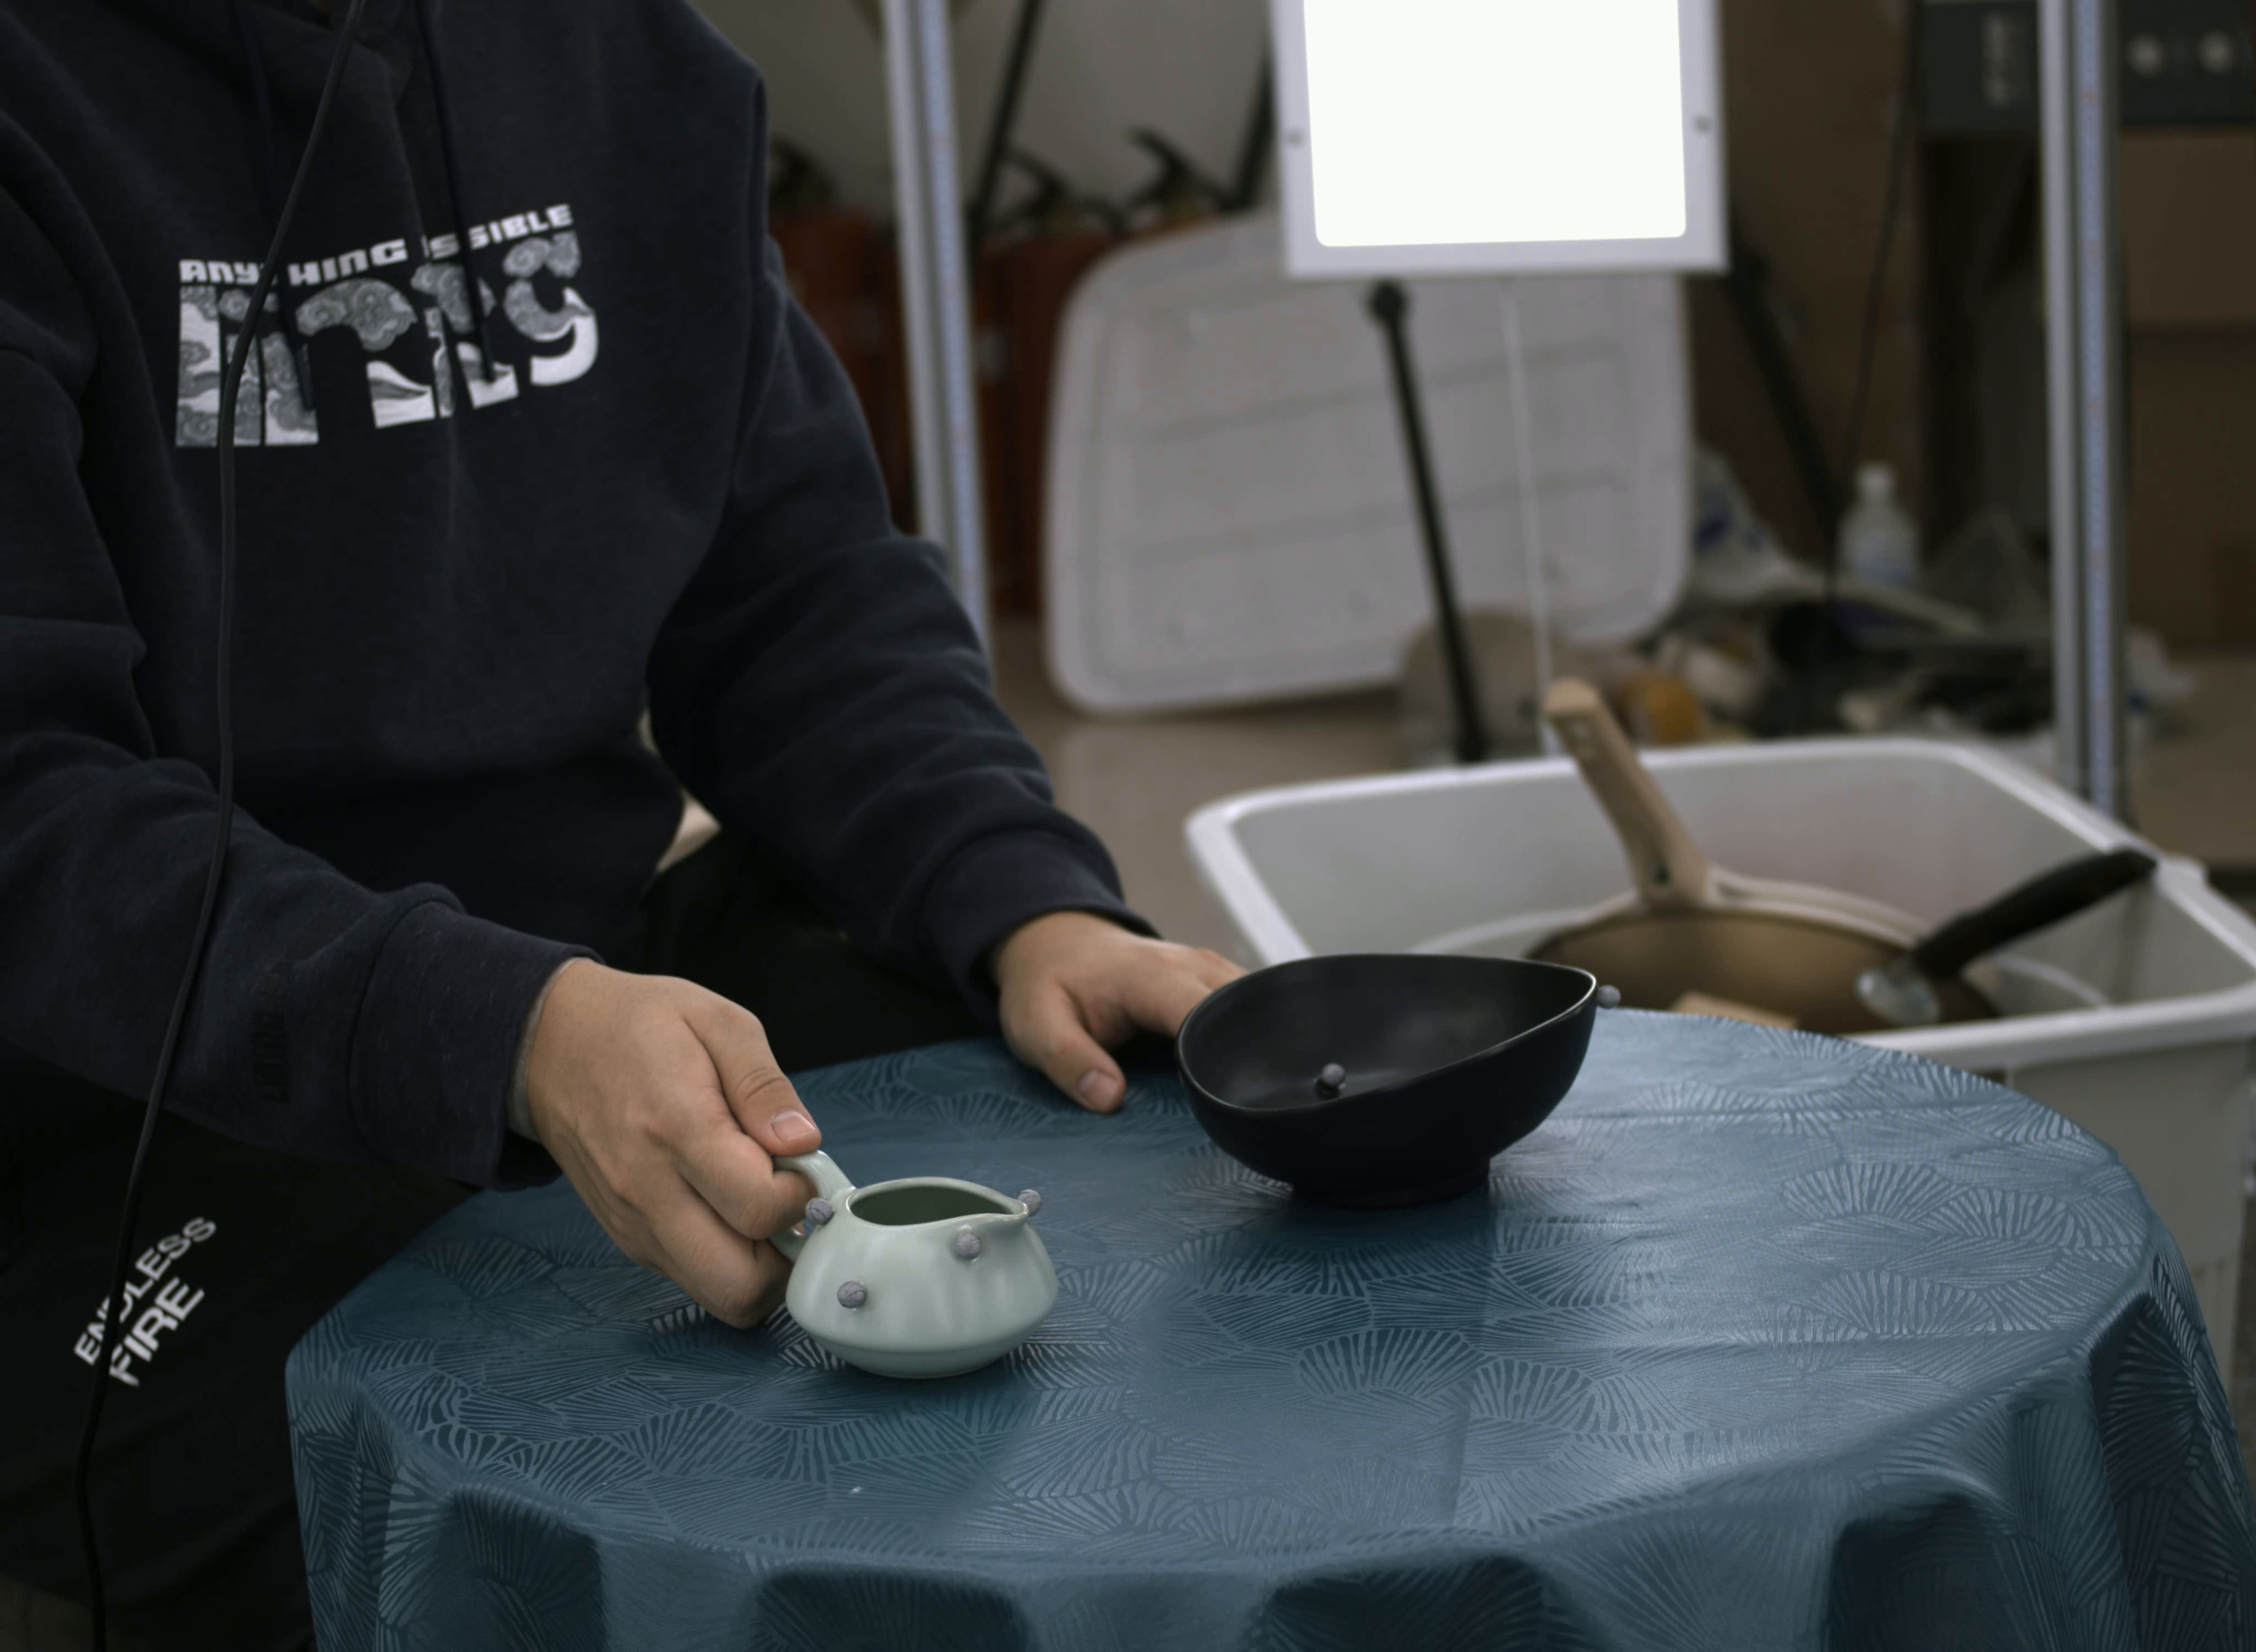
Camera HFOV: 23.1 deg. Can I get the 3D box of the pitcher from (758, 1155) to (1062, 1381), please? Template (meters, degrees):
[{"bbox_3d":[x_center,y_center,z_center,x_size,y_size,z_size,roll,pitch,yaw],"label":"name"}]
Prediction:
[{"bbox_3d":[-0.074,0.139,1.745,0.110,0.060,0.084,8,17,35],"label":"pitcher"}]

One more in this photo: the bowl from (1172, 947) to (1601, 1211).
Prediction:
[{"bbox_3d":[0.091,0.091,1.882,0.140,0.067,0.166,4,17,35],"label":"bowl"}]
